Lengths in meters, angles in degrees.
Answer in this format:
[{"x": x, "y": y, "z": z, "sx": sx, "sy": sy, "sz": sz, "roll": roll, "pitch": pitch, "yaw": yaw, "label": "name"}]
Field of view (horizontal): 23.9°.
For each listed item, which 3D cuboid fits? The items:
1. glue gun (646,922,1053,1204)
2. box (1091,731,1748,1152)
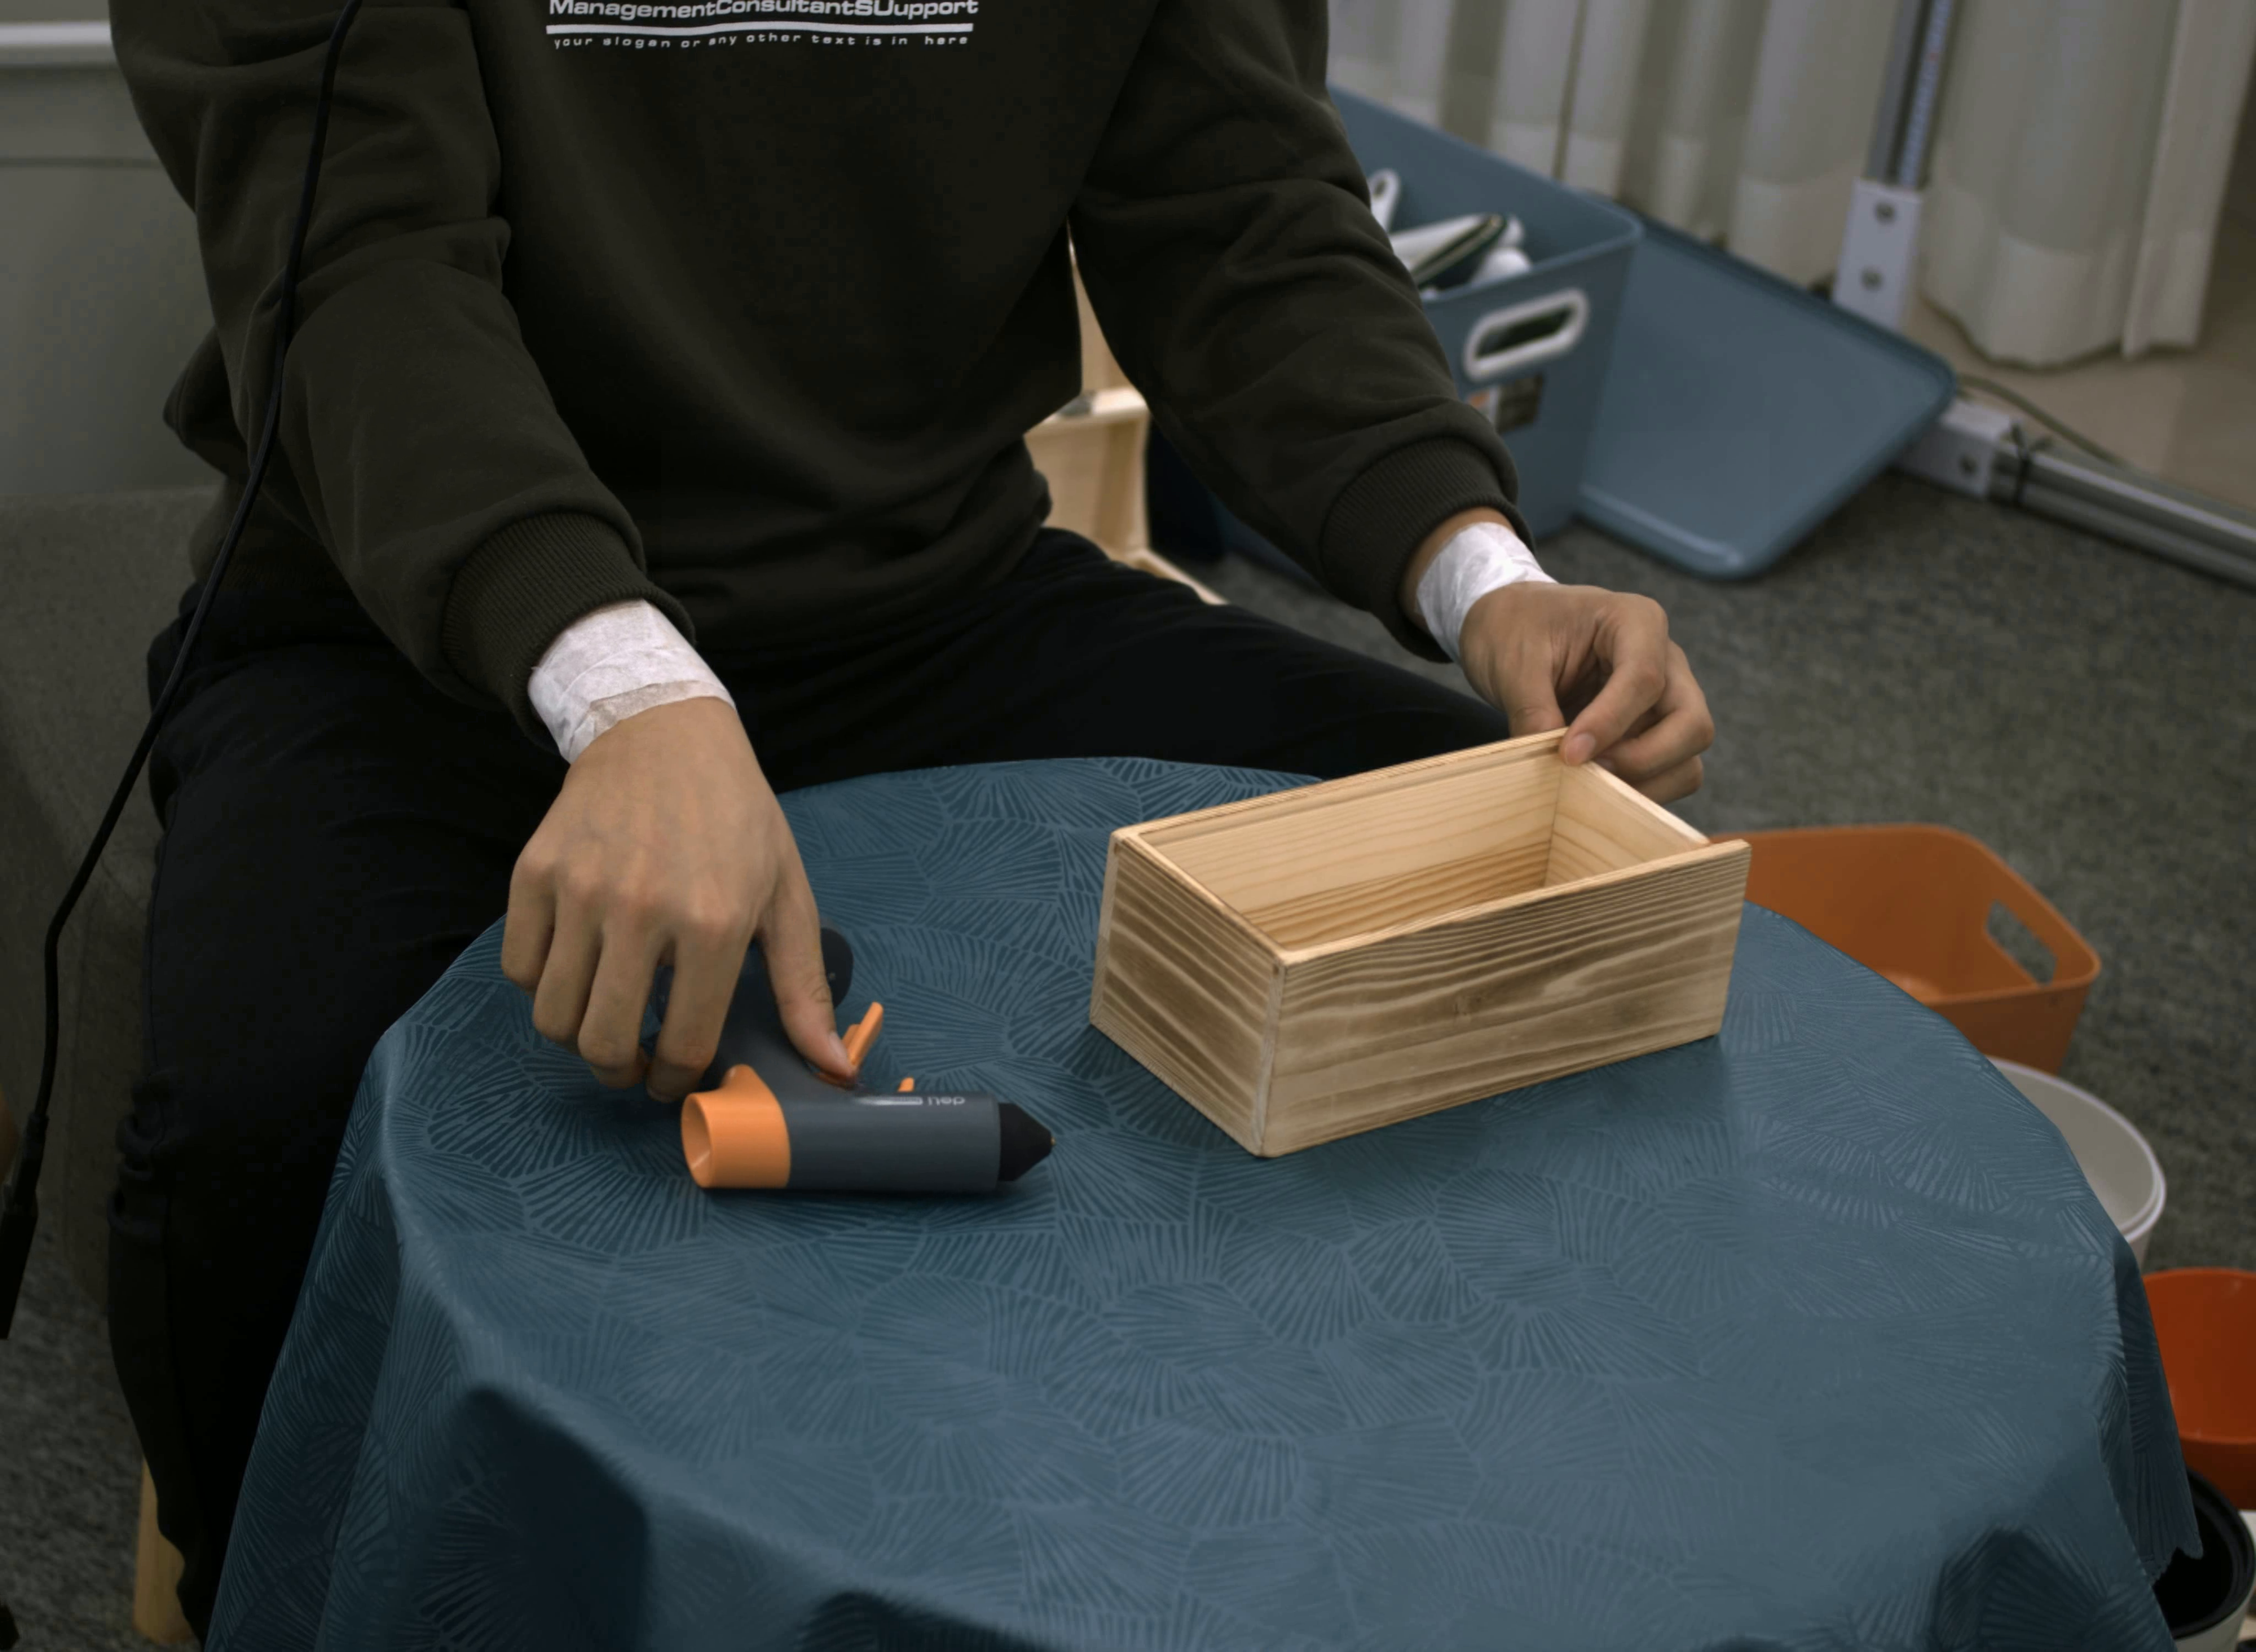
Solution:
[{"x": -0.102, "y": 0.086, "z": 1.827, "sx": 0.117, "sy": 0.041, "sz": 0.141, "roll": -2, "pitch": 31, "yaw": -26, "label": "glue gun"}, {"x": 0.105, "y": 0.039, "z": 1.914, "sx": 0.210, "sy": 0.080, "sz": 0.108, "roll": -13, "pitch": 32, "yaw": -33, "label": "box"}]
